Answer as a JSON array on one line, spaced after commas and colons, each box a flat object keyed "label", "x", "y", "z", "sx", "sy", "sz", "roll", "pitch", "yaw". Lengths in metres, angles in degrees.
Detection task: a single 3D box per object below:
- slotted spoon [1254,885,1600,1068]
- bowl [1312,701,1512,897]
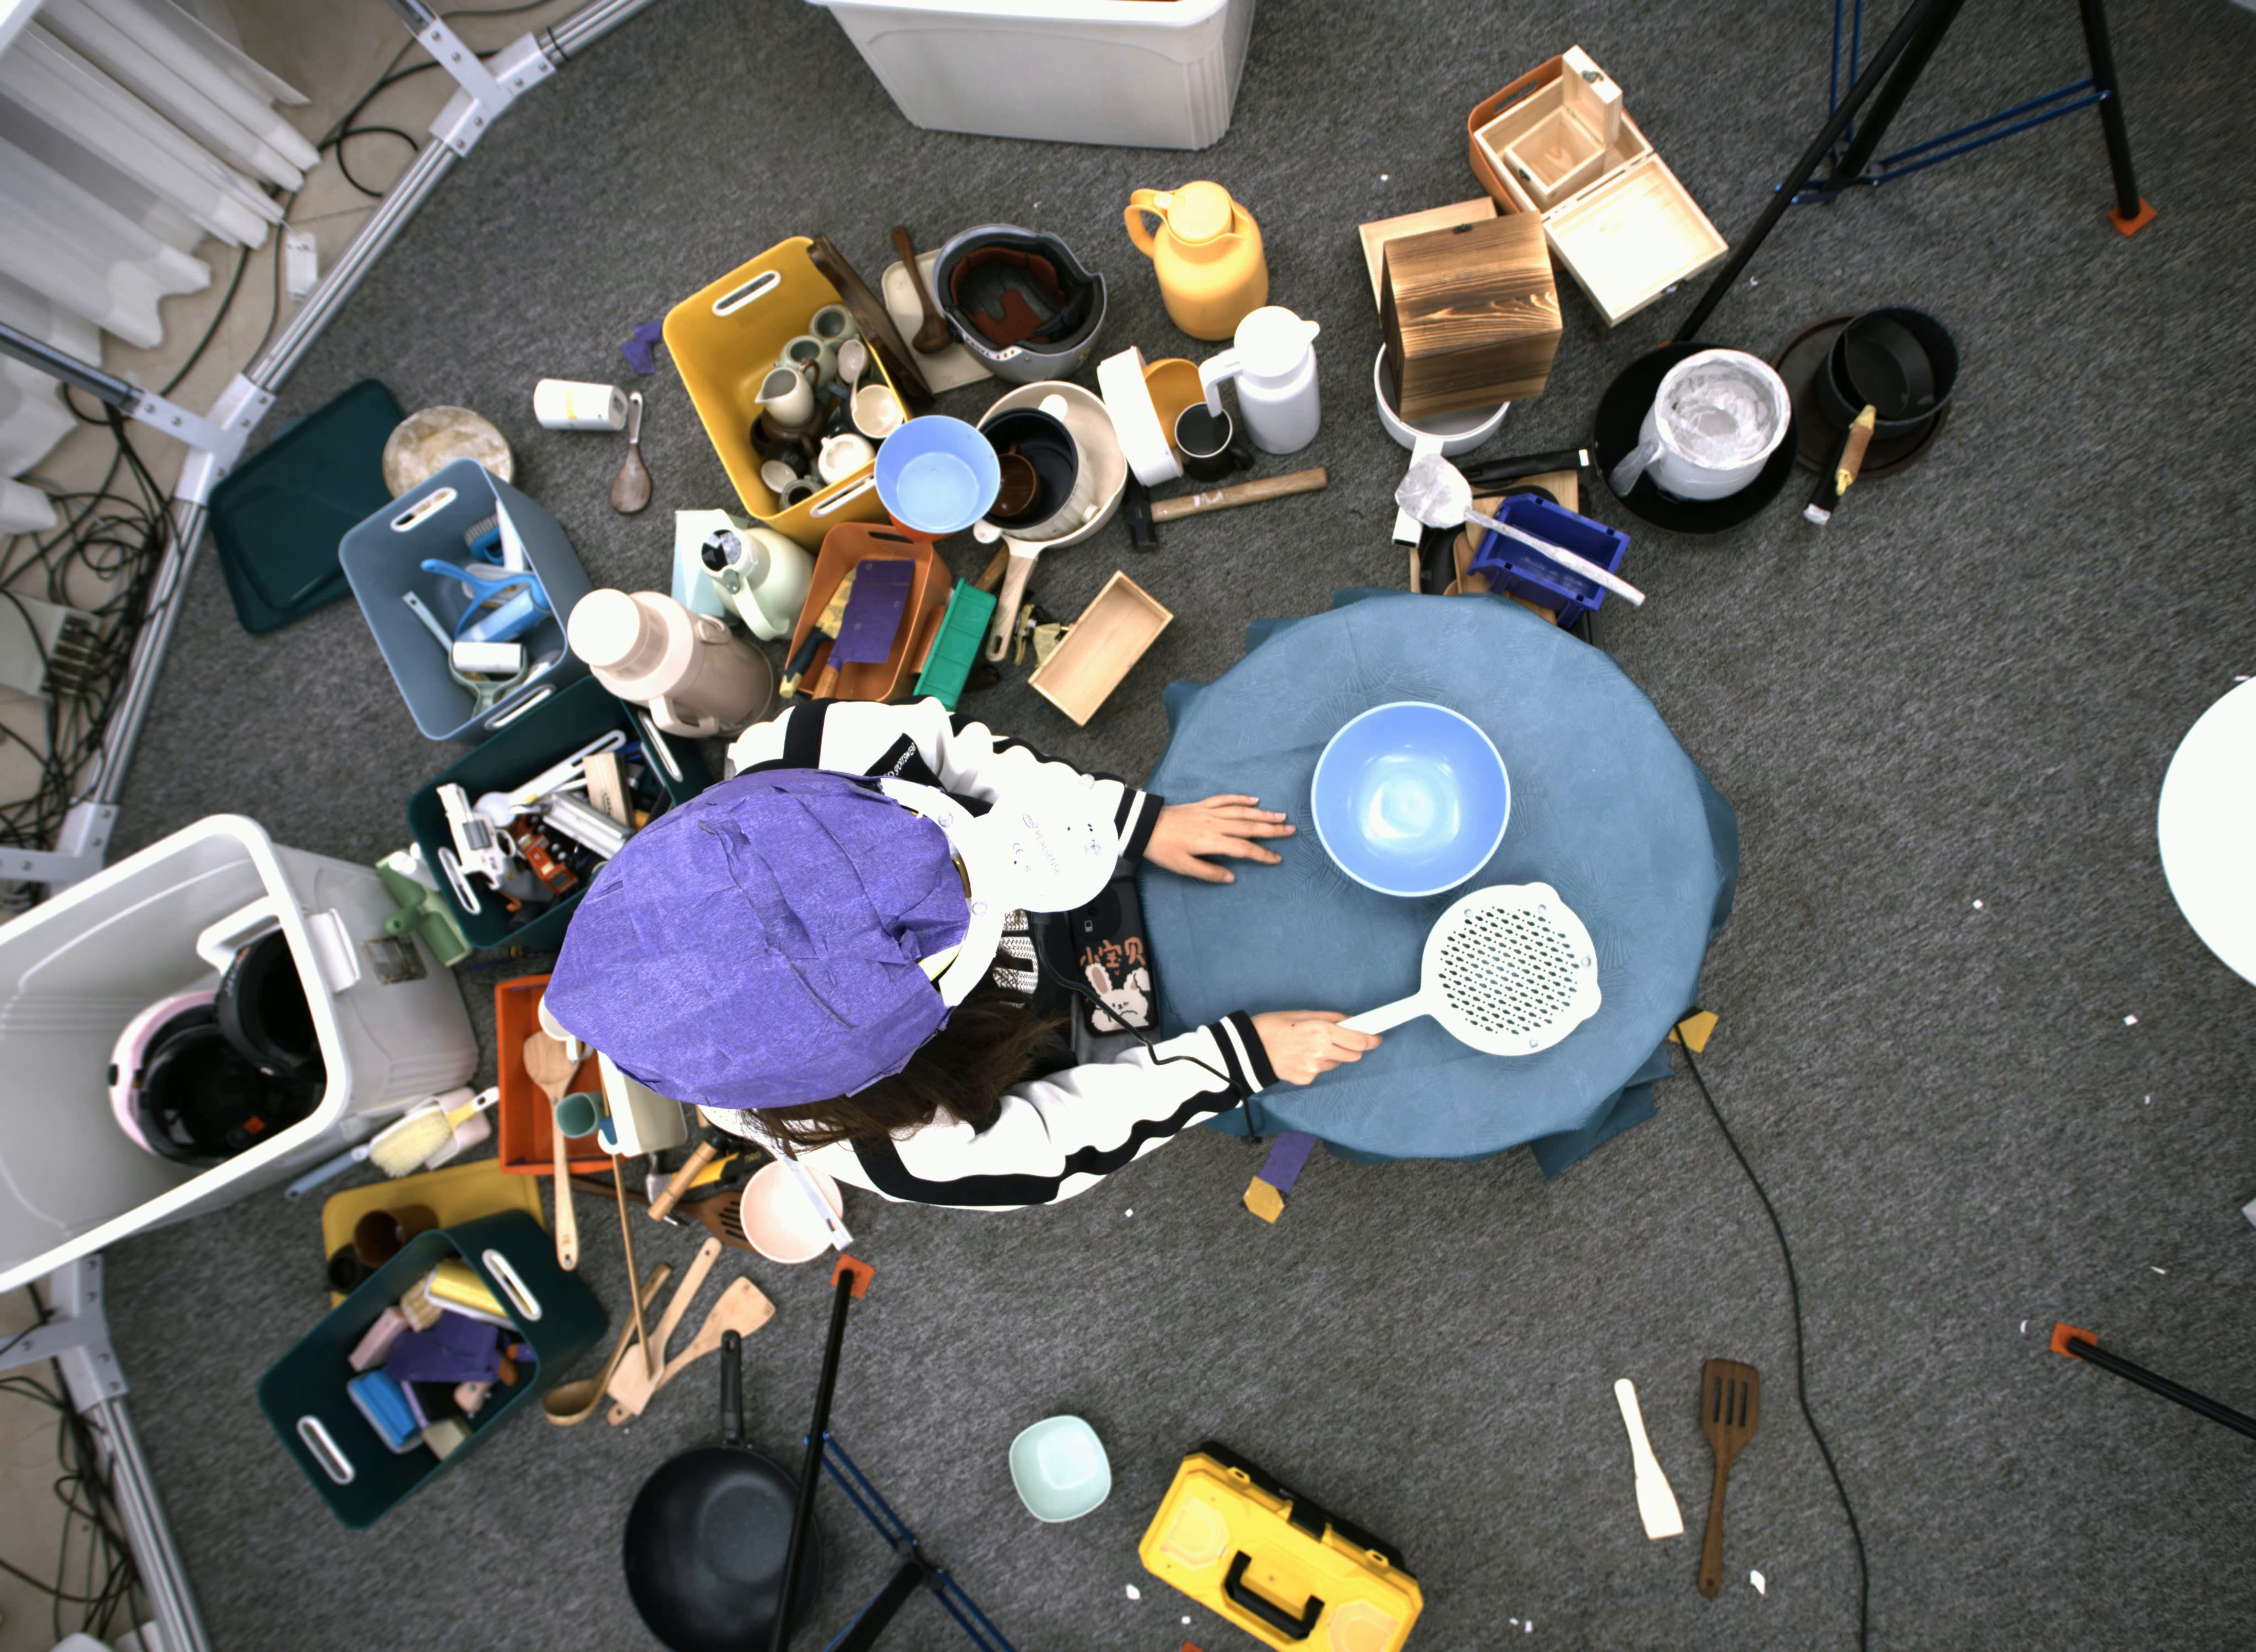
[{"label": "slotted spoon", "x": 0.297, "y": 0.181, "z": 1.414, "sx": 0.360, "sy": 0.075, "sz": 0.168, "roll": -21, "pitch": 81, "yaw": 7}, {"label": "bowl", "x": 0.289, "y": -0.024, "z": 1.414, "sx": 0.197, "sy": 0.095, "sz": 0.195, "roll": -1, "pitch": 87, "yaw": 10}]
